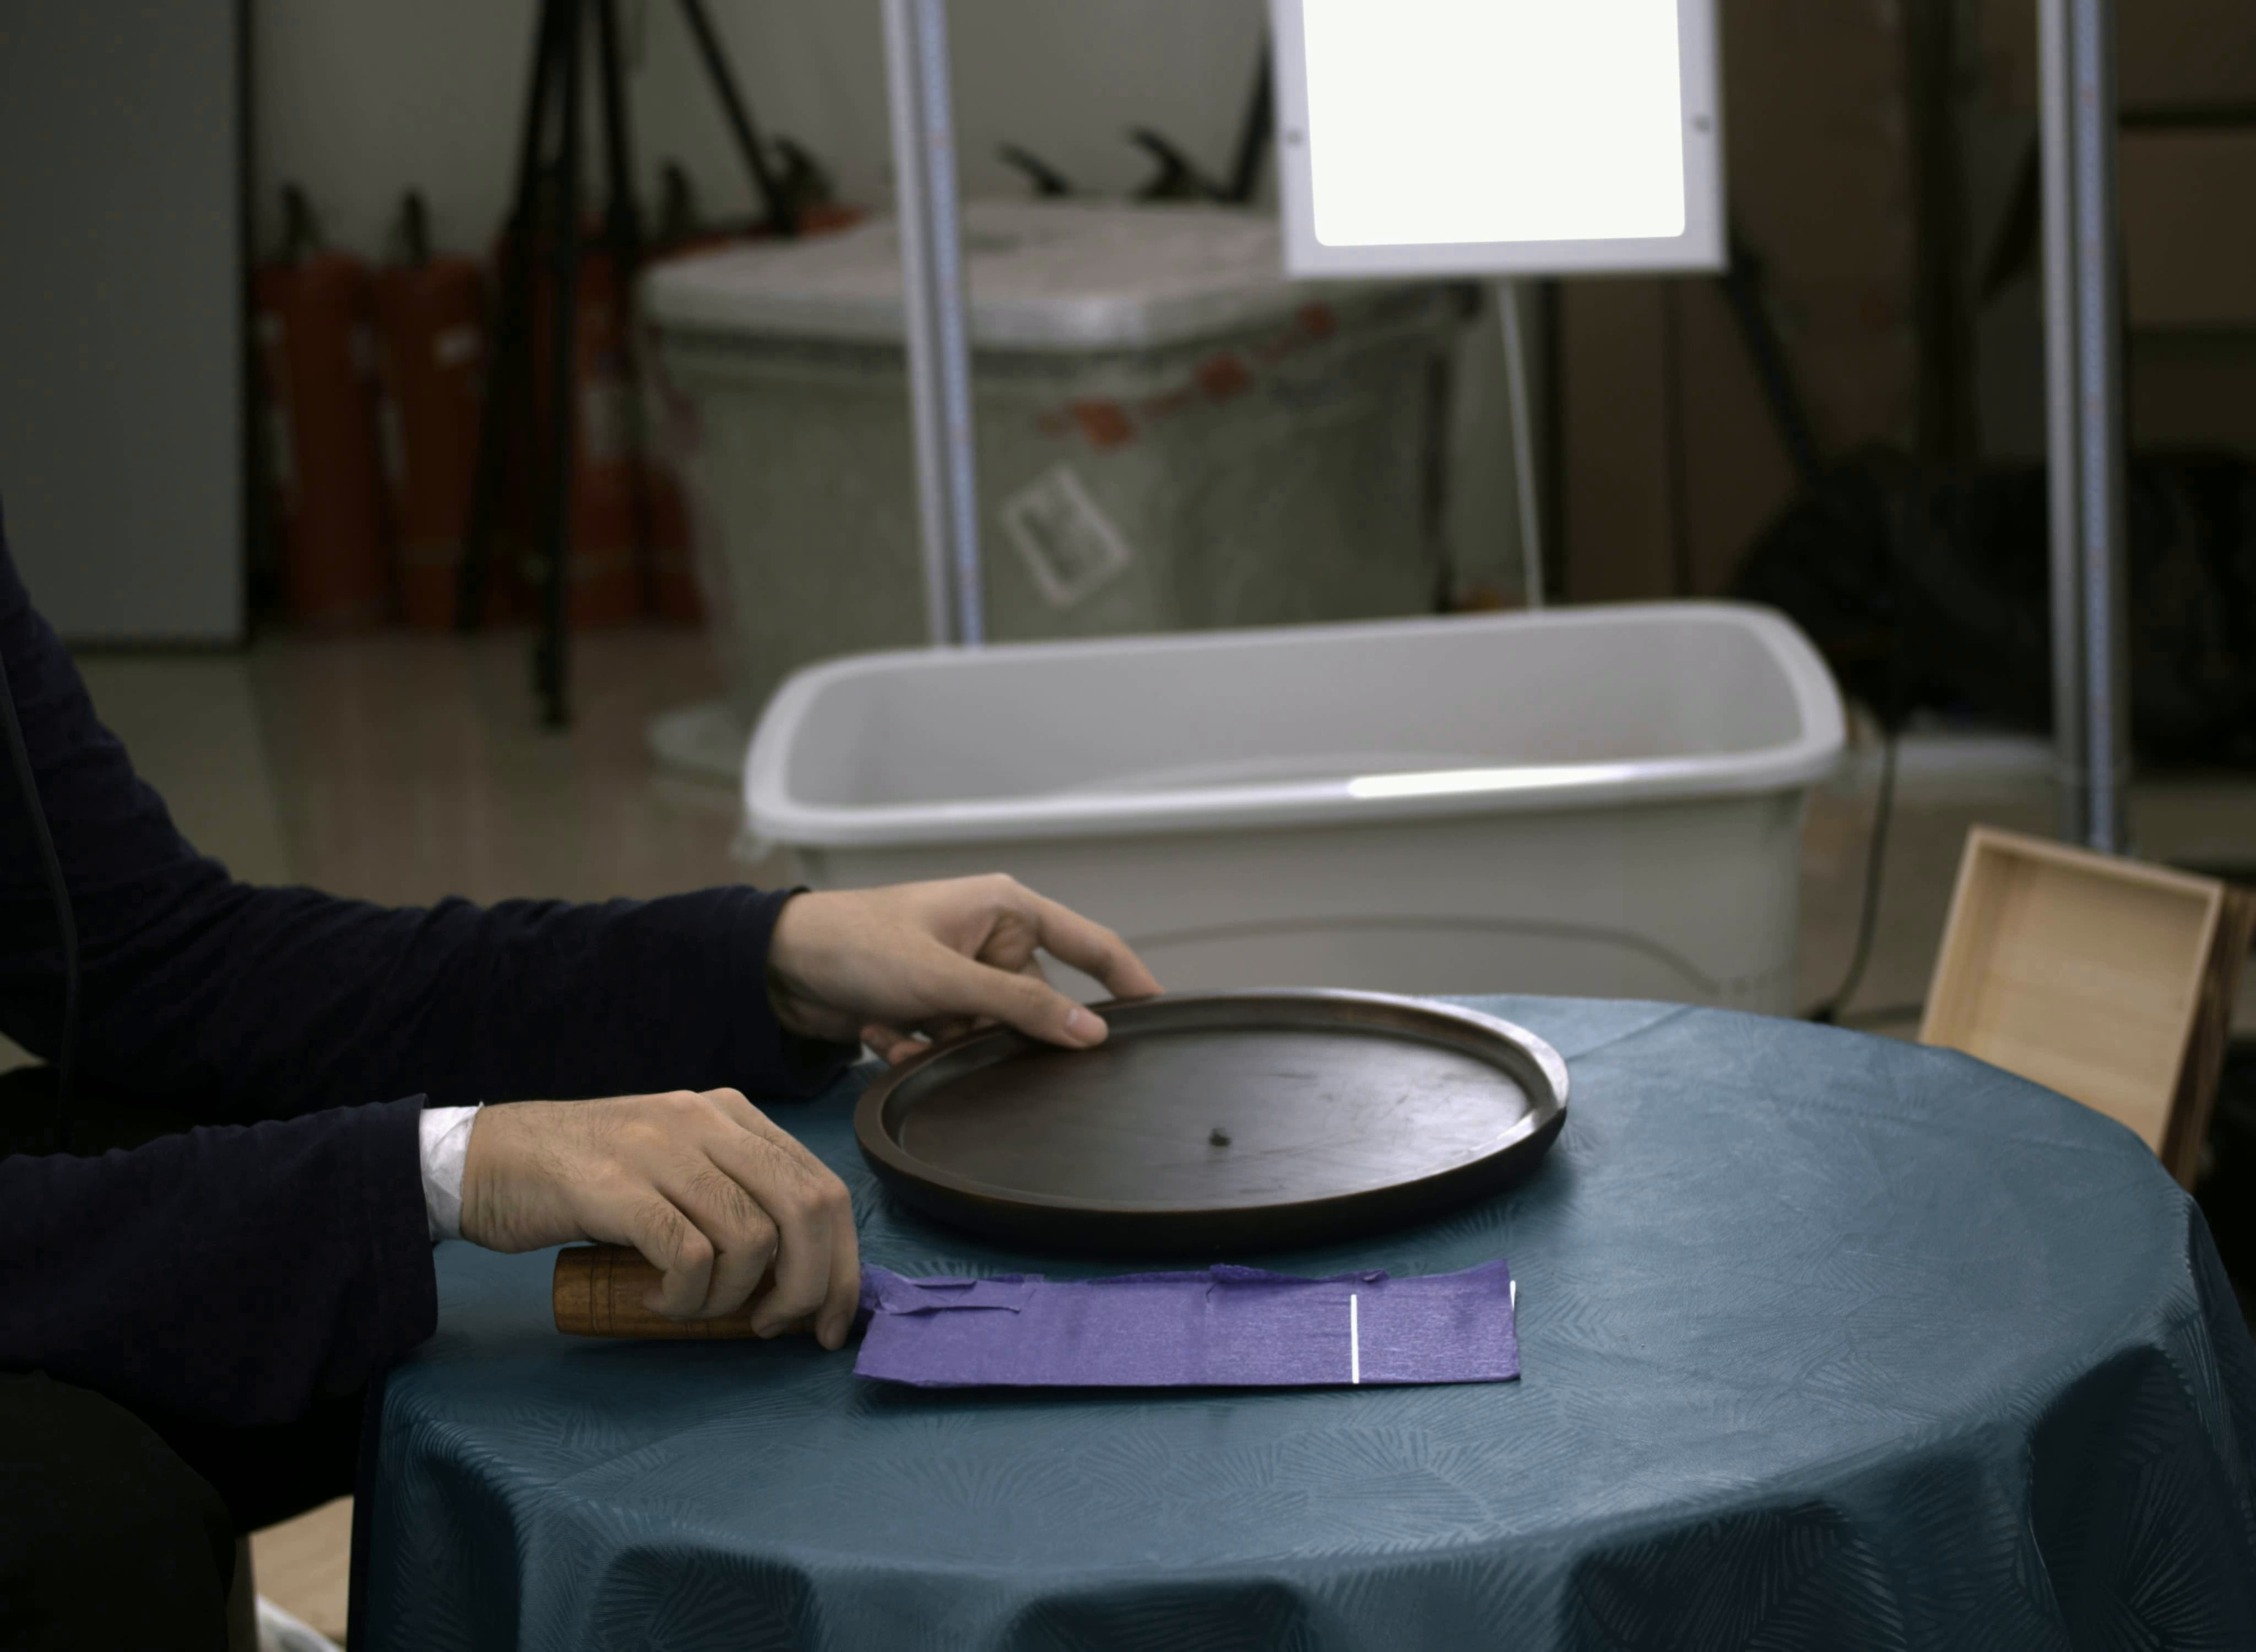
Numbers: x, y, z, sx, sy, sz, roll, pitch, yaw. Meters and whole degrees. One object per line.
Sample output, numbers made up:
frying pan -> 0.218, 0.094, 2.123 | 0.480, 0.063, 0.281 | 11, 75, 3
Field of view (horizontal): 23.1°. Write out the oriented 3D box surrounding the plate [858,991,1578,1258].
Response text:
plate -> 0.031, 0.102, 1.928 | 0.254, 0.029, 0.254 | -3, 15, 0

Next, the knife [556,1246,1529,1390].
knife -> -0.031, 0.155, 1.742 | 0.316, 0.032, 0.103 | -3, 14, 7
